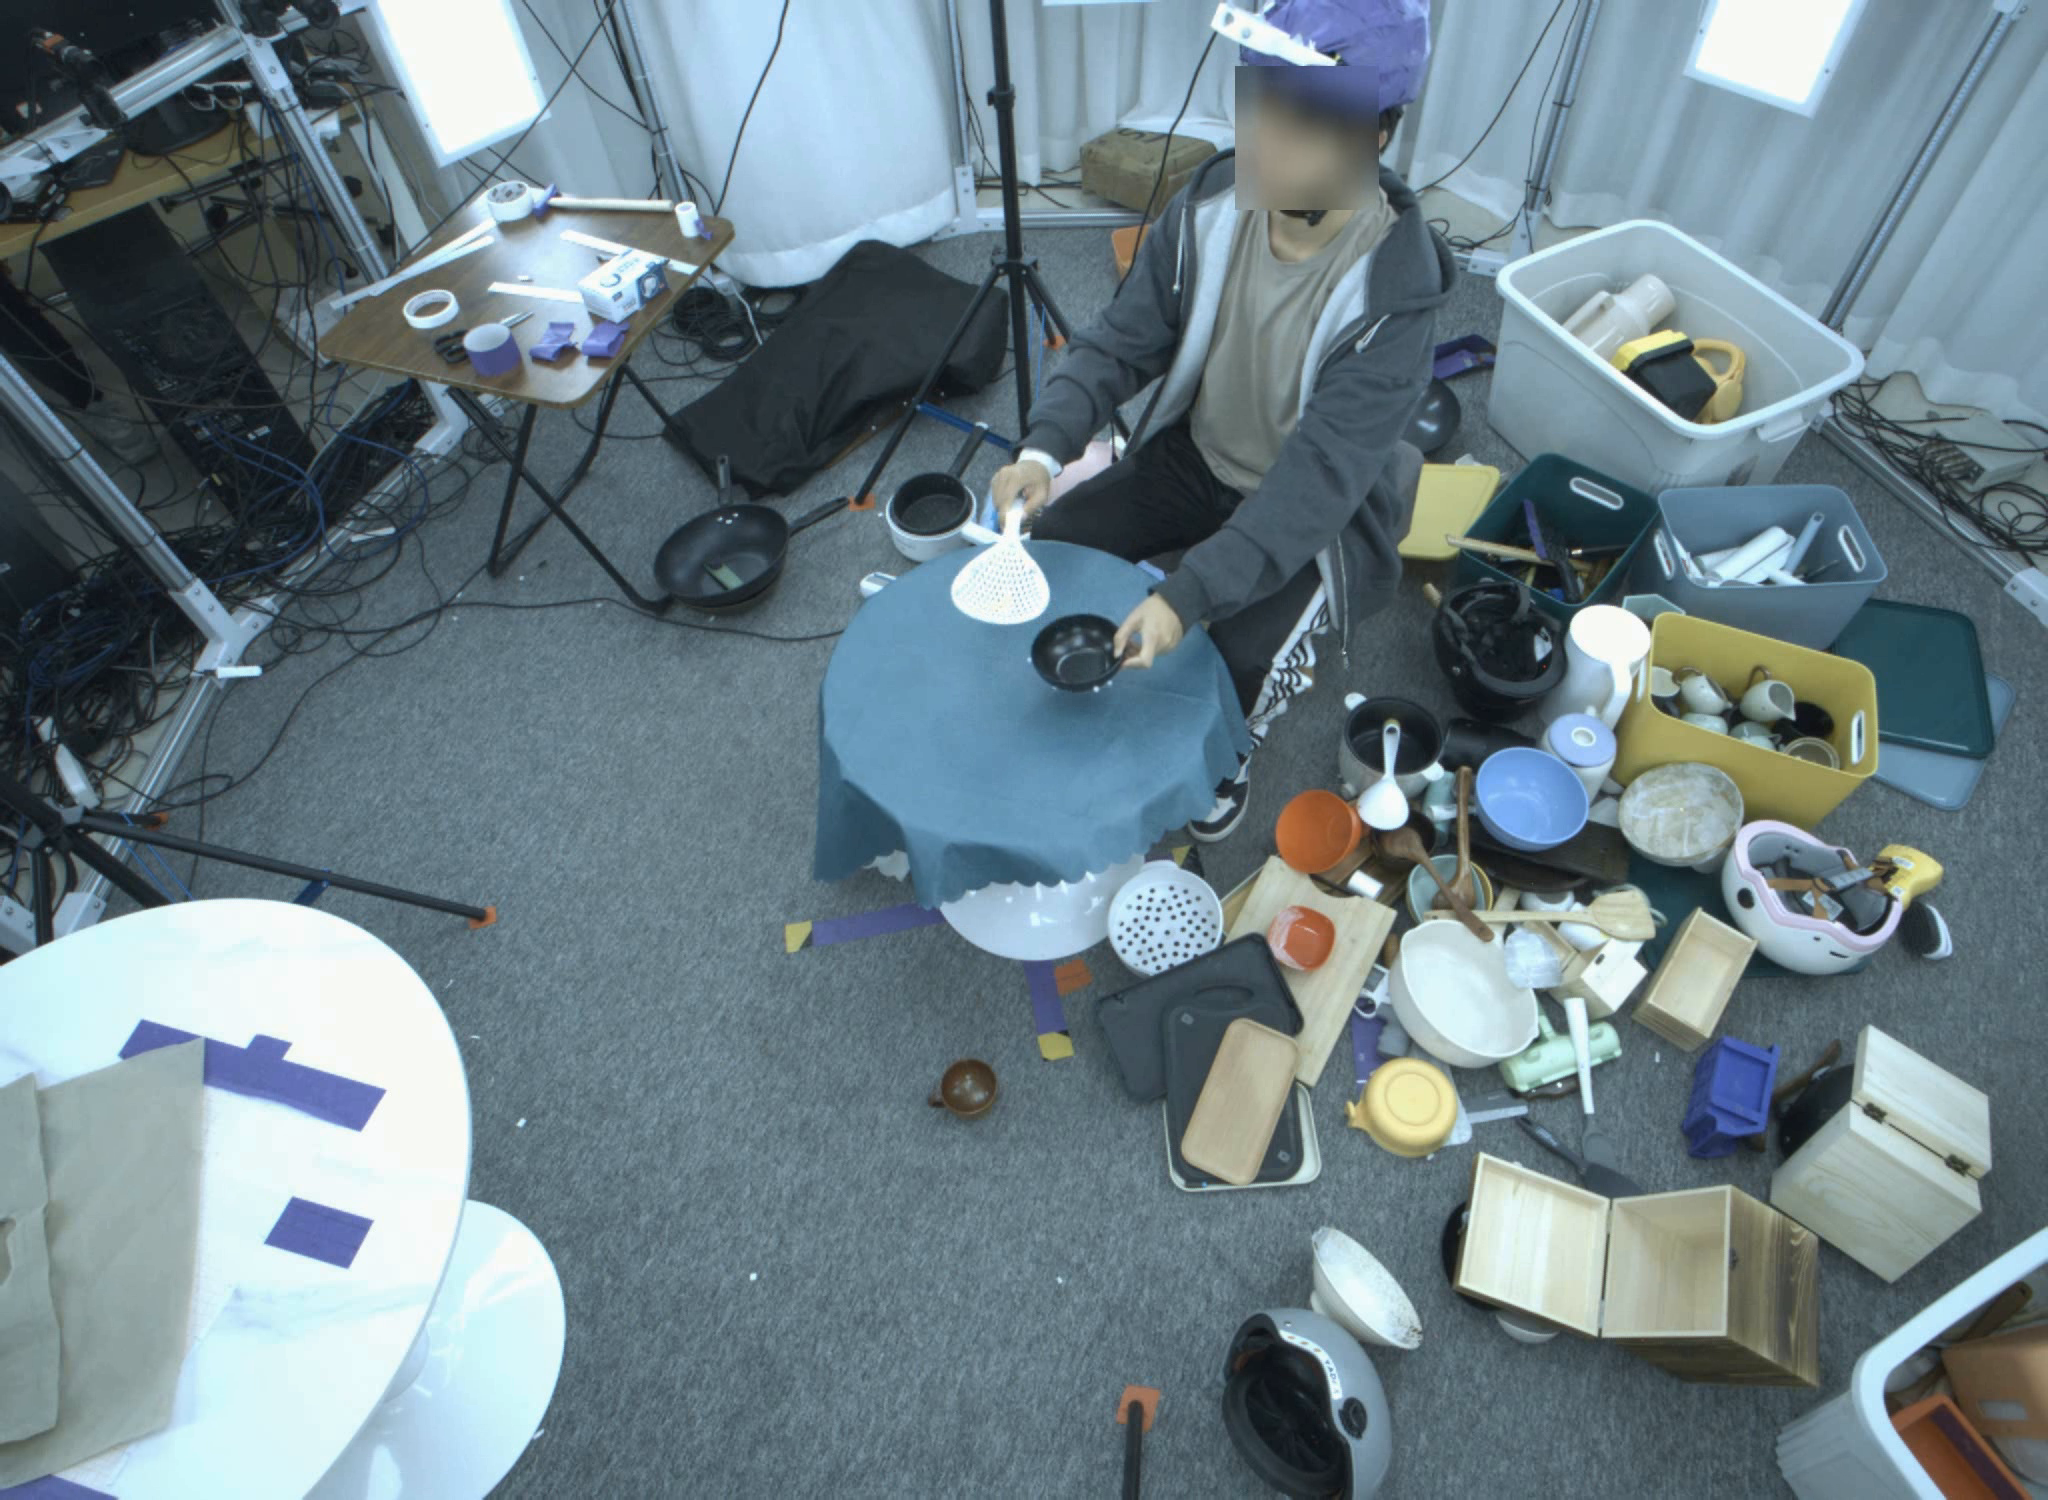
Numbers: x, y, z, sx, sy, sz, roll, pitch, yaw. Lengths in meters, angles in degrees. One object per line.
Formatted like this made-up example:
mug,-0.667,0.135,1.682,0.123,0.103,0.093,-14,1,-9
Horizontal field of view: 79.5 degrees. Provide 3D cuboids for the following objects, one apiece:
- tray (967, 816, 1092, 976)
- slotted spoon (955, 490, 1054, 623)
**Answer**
tray,0.007,0.266,2.278,0.192,0.028,0.296,-9,56,-4
slotted spoon,-0.022,-0.292,1.780,0.137,0.050,0.344,6,49,-2
